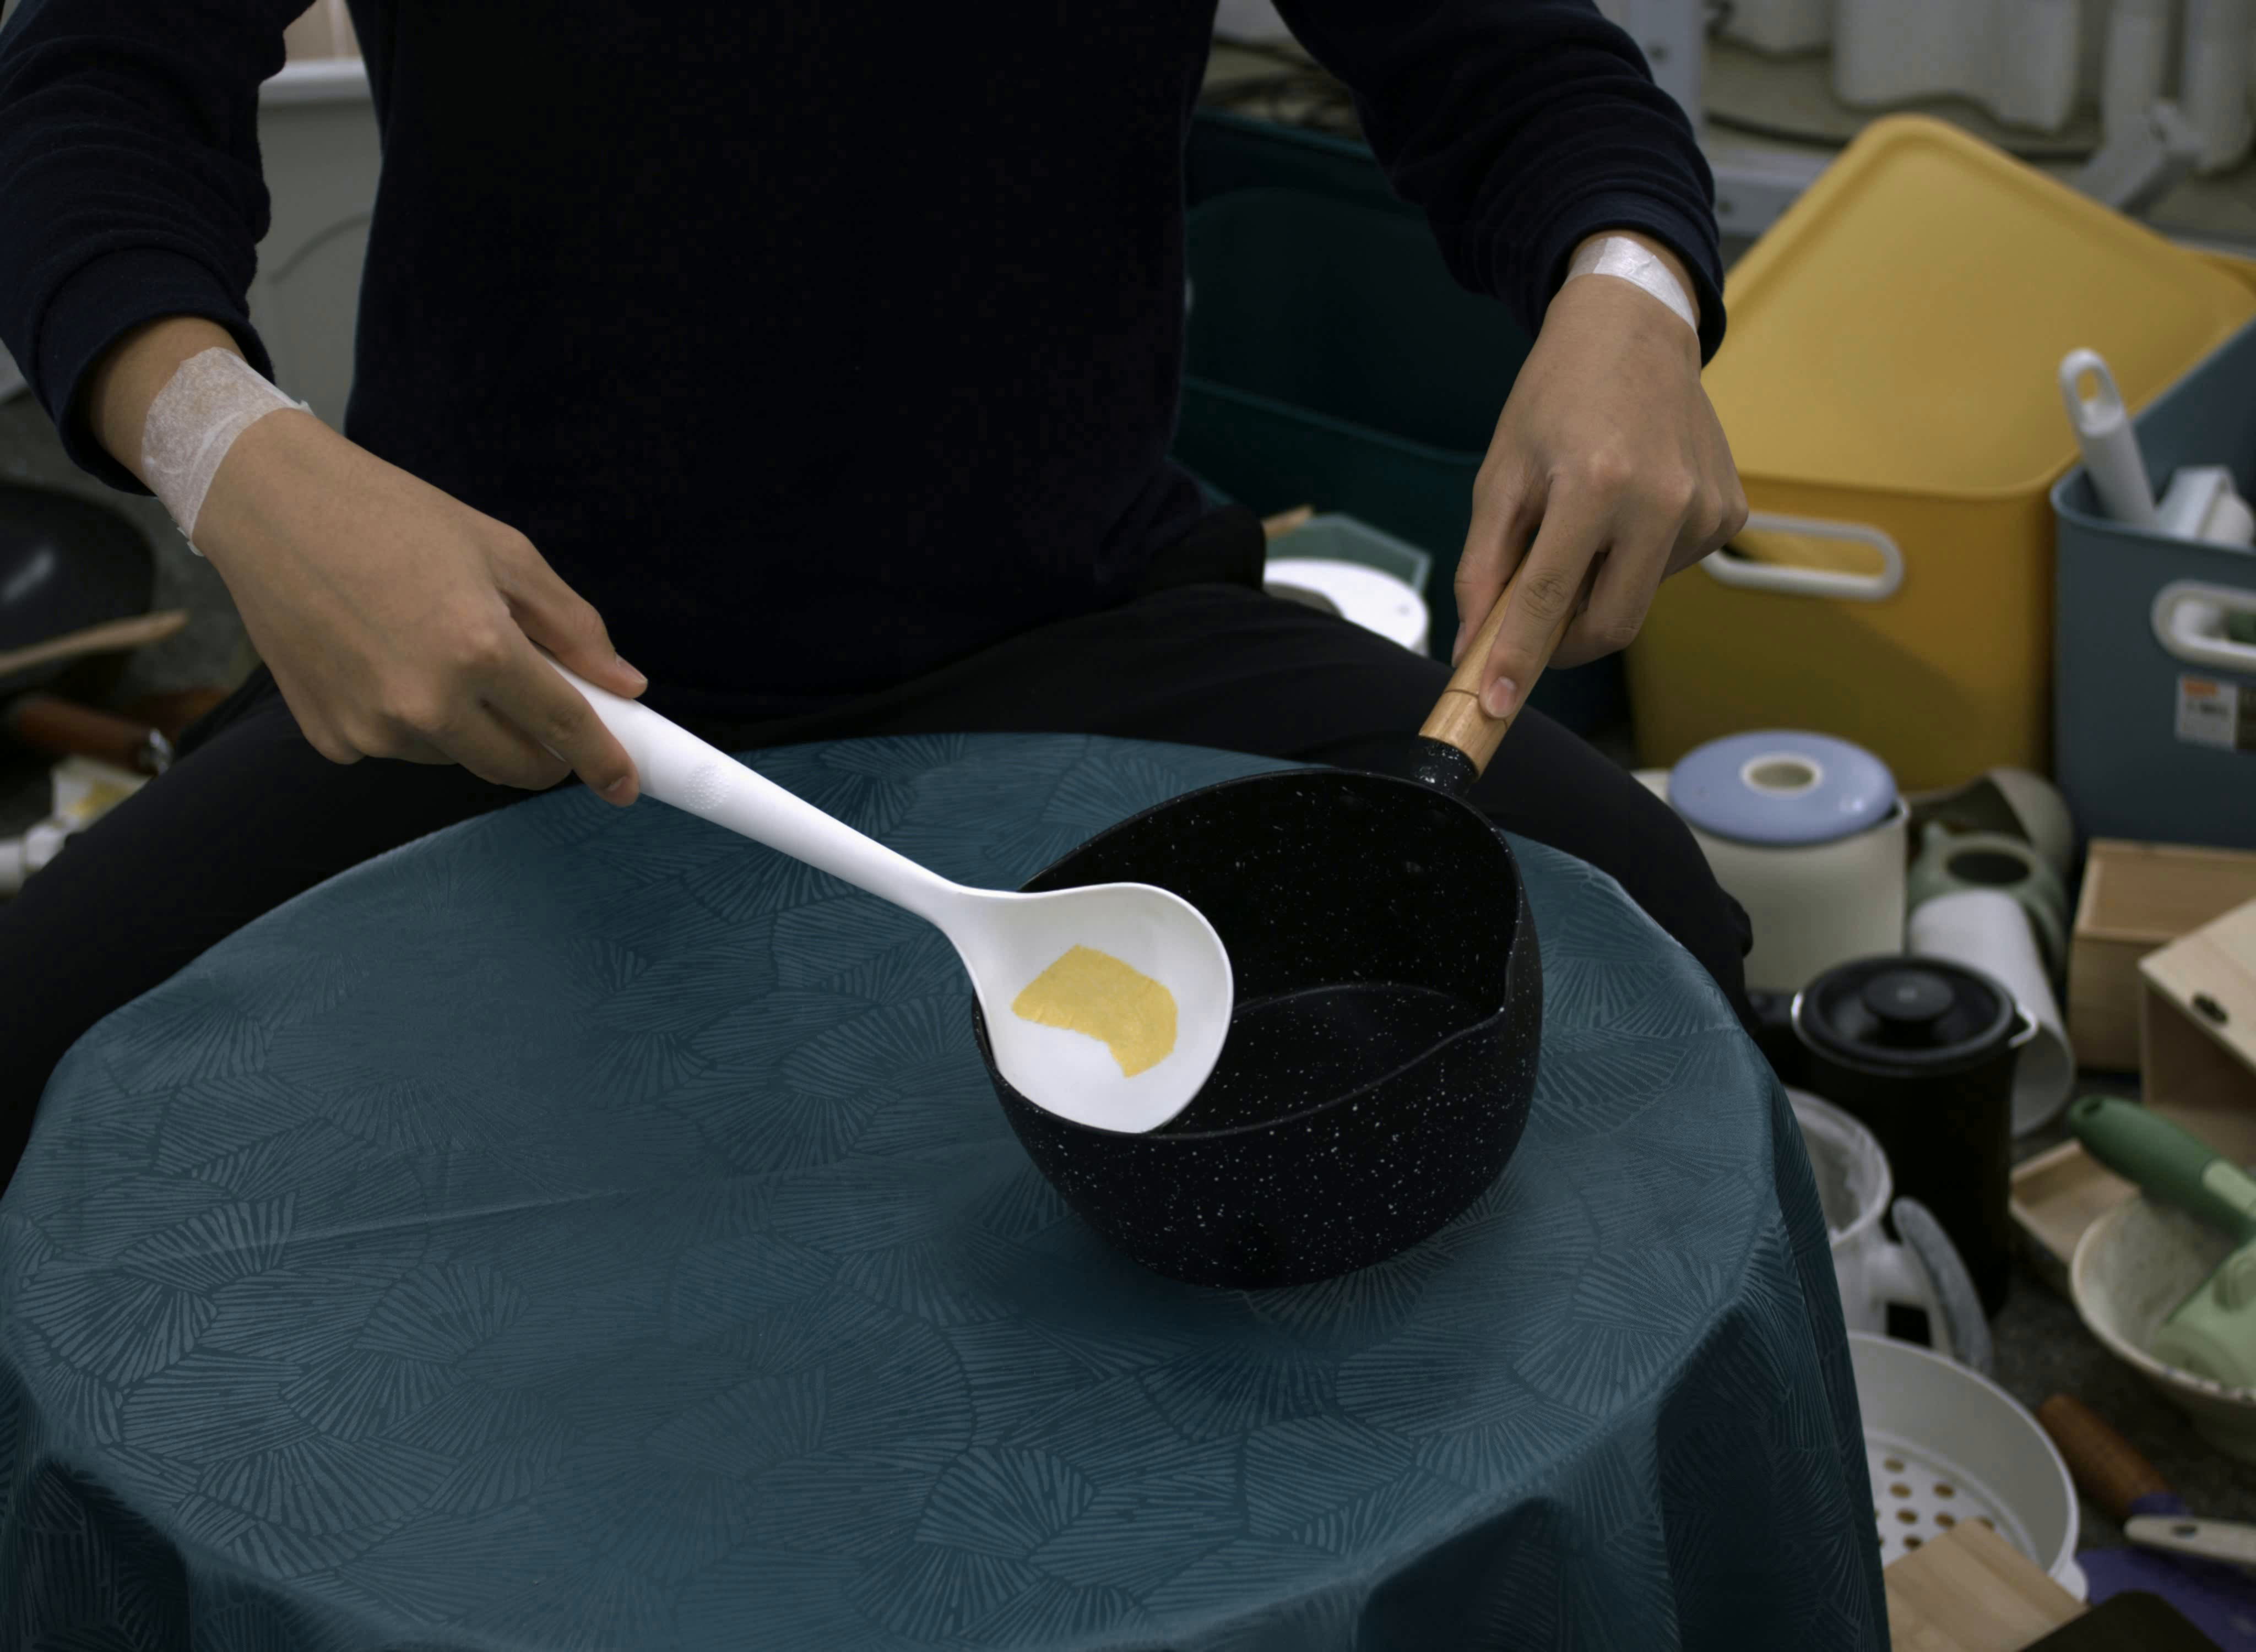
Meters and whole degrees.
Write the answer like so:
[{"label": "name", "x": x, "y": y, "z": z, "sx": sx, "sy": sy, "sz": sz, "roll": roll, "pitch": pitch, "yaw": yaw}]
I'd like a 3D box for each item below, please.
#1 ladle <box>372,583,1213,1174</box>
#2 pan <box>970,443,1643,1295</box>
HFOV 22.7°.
[{"label": "ladle", "x": -0.107, "y": 0.013, "z": 1.780, "sx": 0.292, "sy": 0.089, "sz": 0.071, "roll": 30, "pitch": 16, "yaw": -19}, {"label": "pan", "x": 0.087, "y": 0.013, "z": 1.874, "sx": 0.206, "sy": 0.107, "sz": 0.349, "roll": 9, "pitch": 44, "yaw": 35}]
